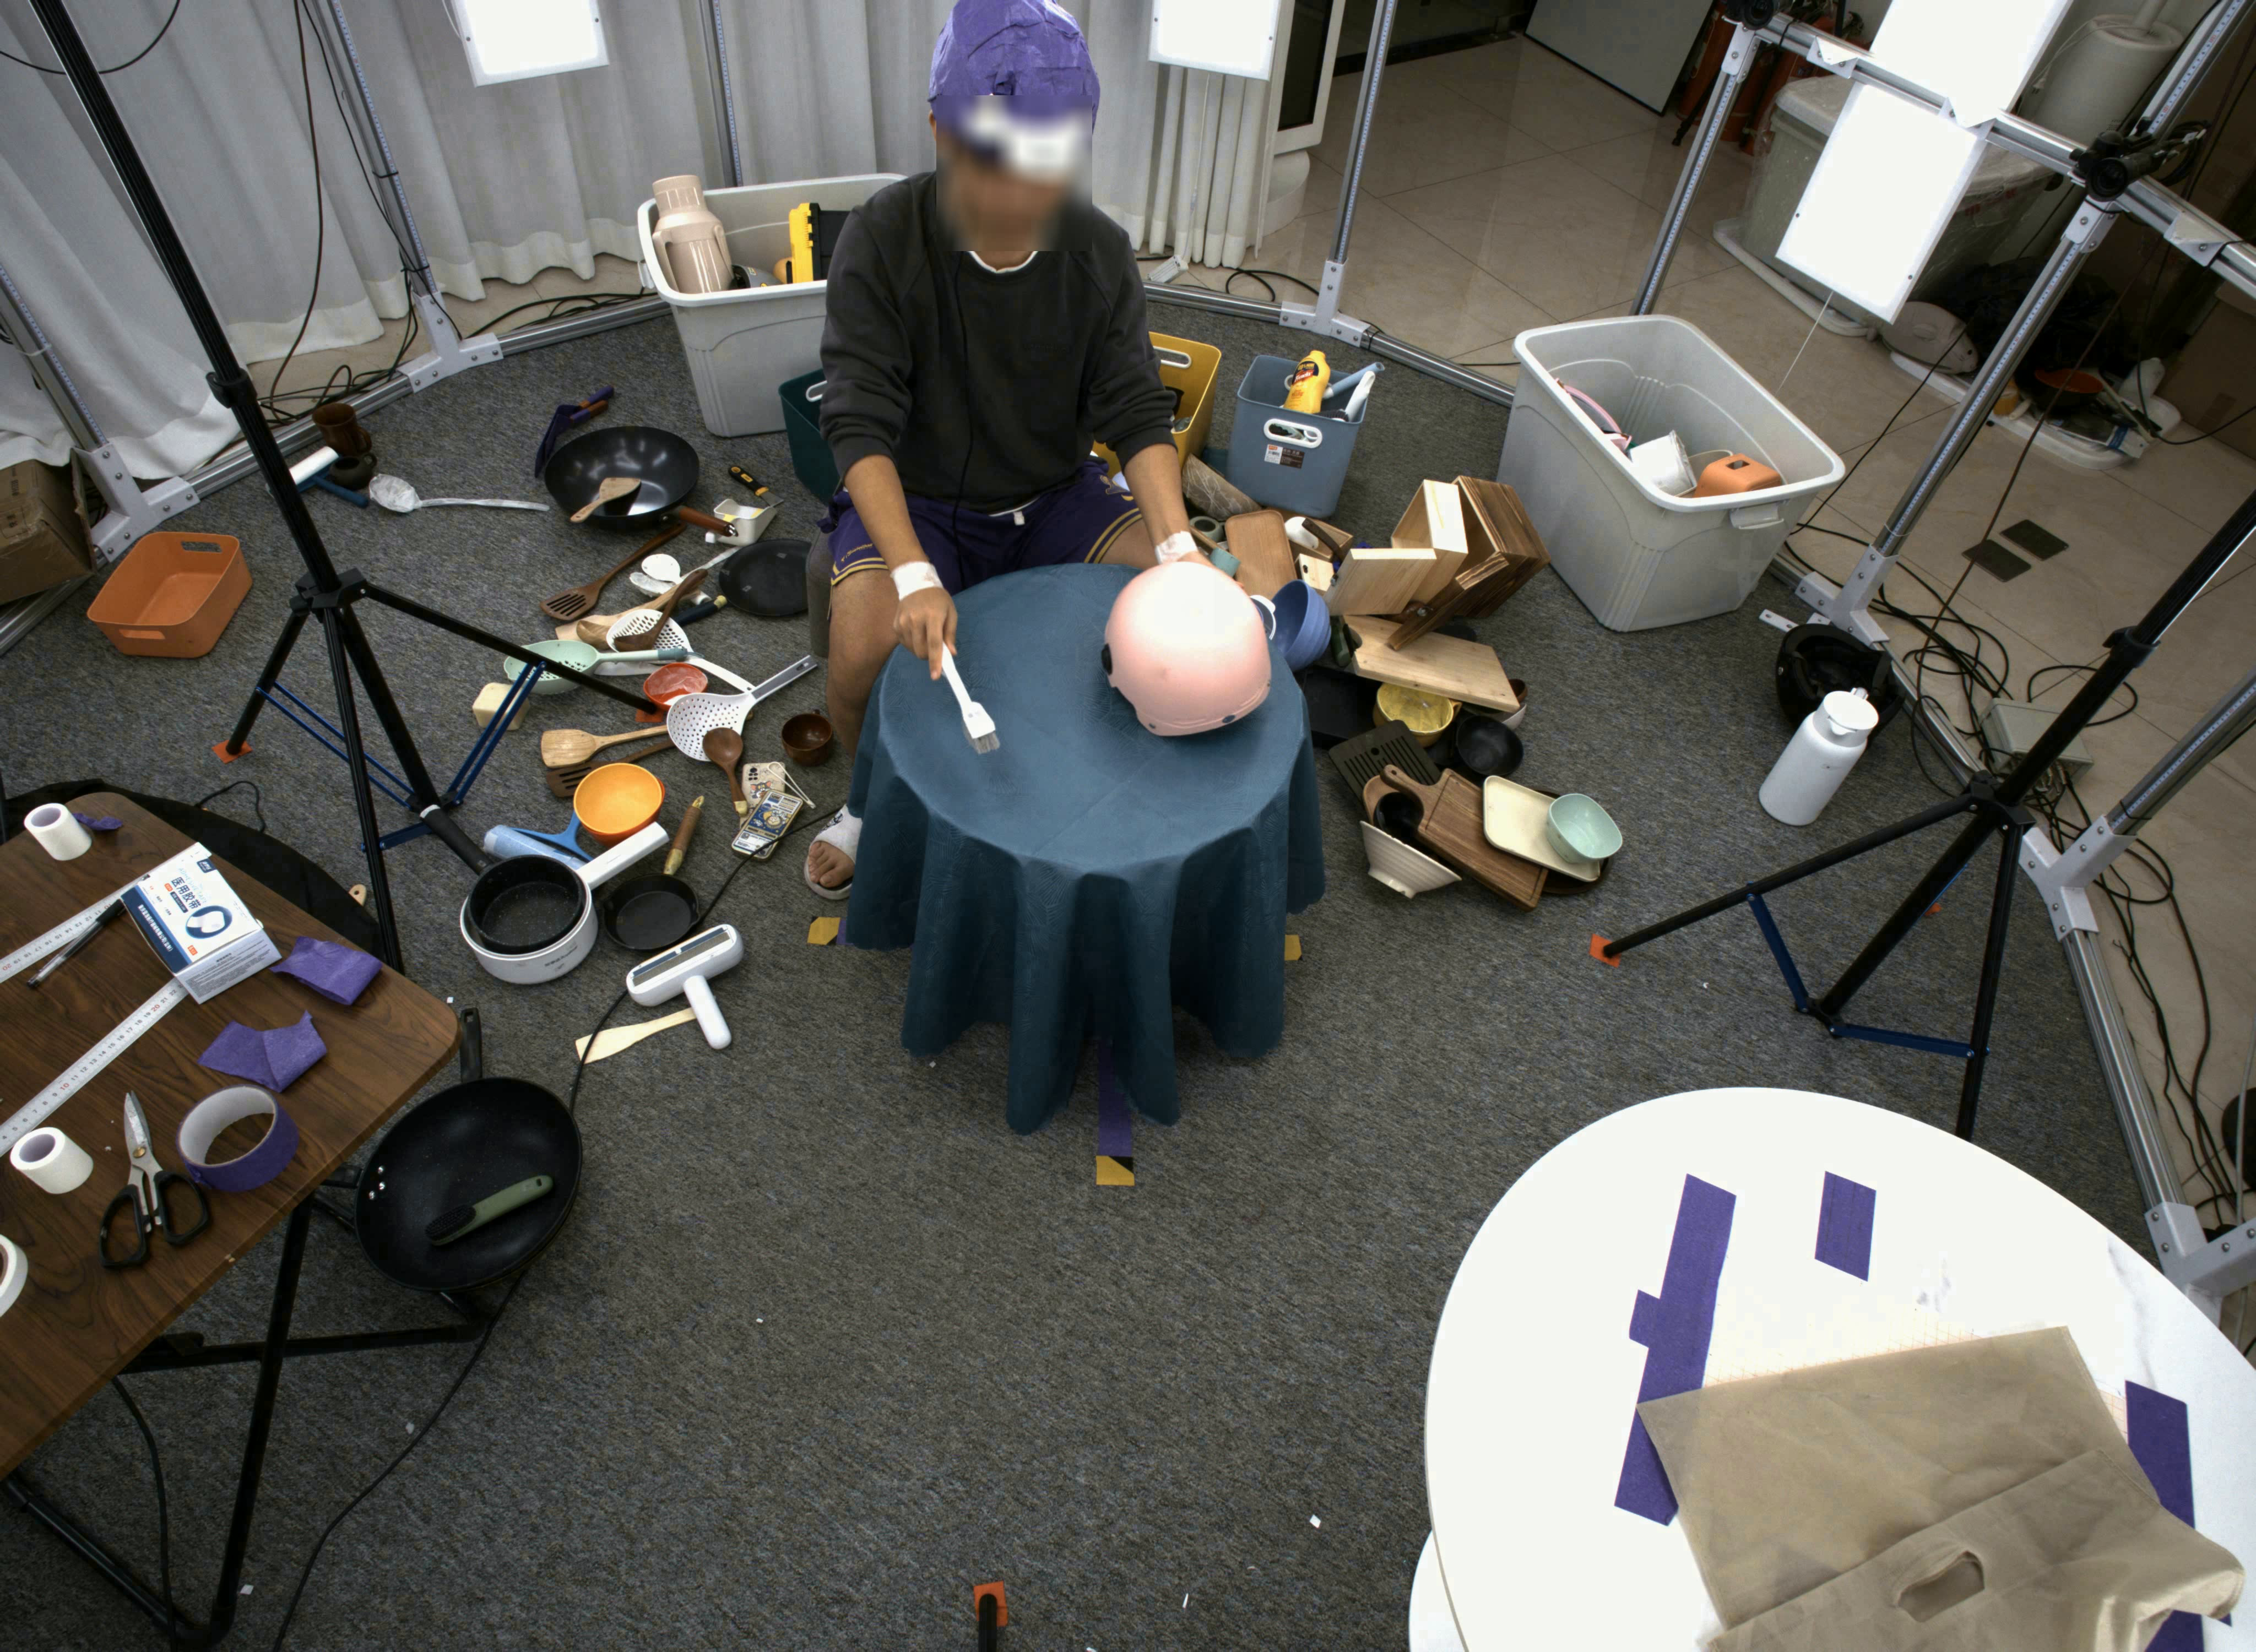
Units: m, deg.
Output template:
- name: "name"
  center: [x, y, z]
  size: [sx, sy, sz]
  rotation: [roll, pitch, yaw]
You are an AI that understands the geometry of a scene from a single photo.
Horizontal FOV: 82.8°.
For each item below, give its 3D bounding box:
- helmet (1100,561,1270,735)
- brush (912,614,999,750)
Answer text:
- name: "helmet"
  center: [0.075, -0.269, 1.764]
  size: [0.234, 0.155, 0.271]
  rotation: [-23, 61, -6]
- name: "brush"
  center: [-0.229, -0.190, 1.694]
  size: [0.034, 0.049, 0.249]
  rotation: [-24, 53, -13]
